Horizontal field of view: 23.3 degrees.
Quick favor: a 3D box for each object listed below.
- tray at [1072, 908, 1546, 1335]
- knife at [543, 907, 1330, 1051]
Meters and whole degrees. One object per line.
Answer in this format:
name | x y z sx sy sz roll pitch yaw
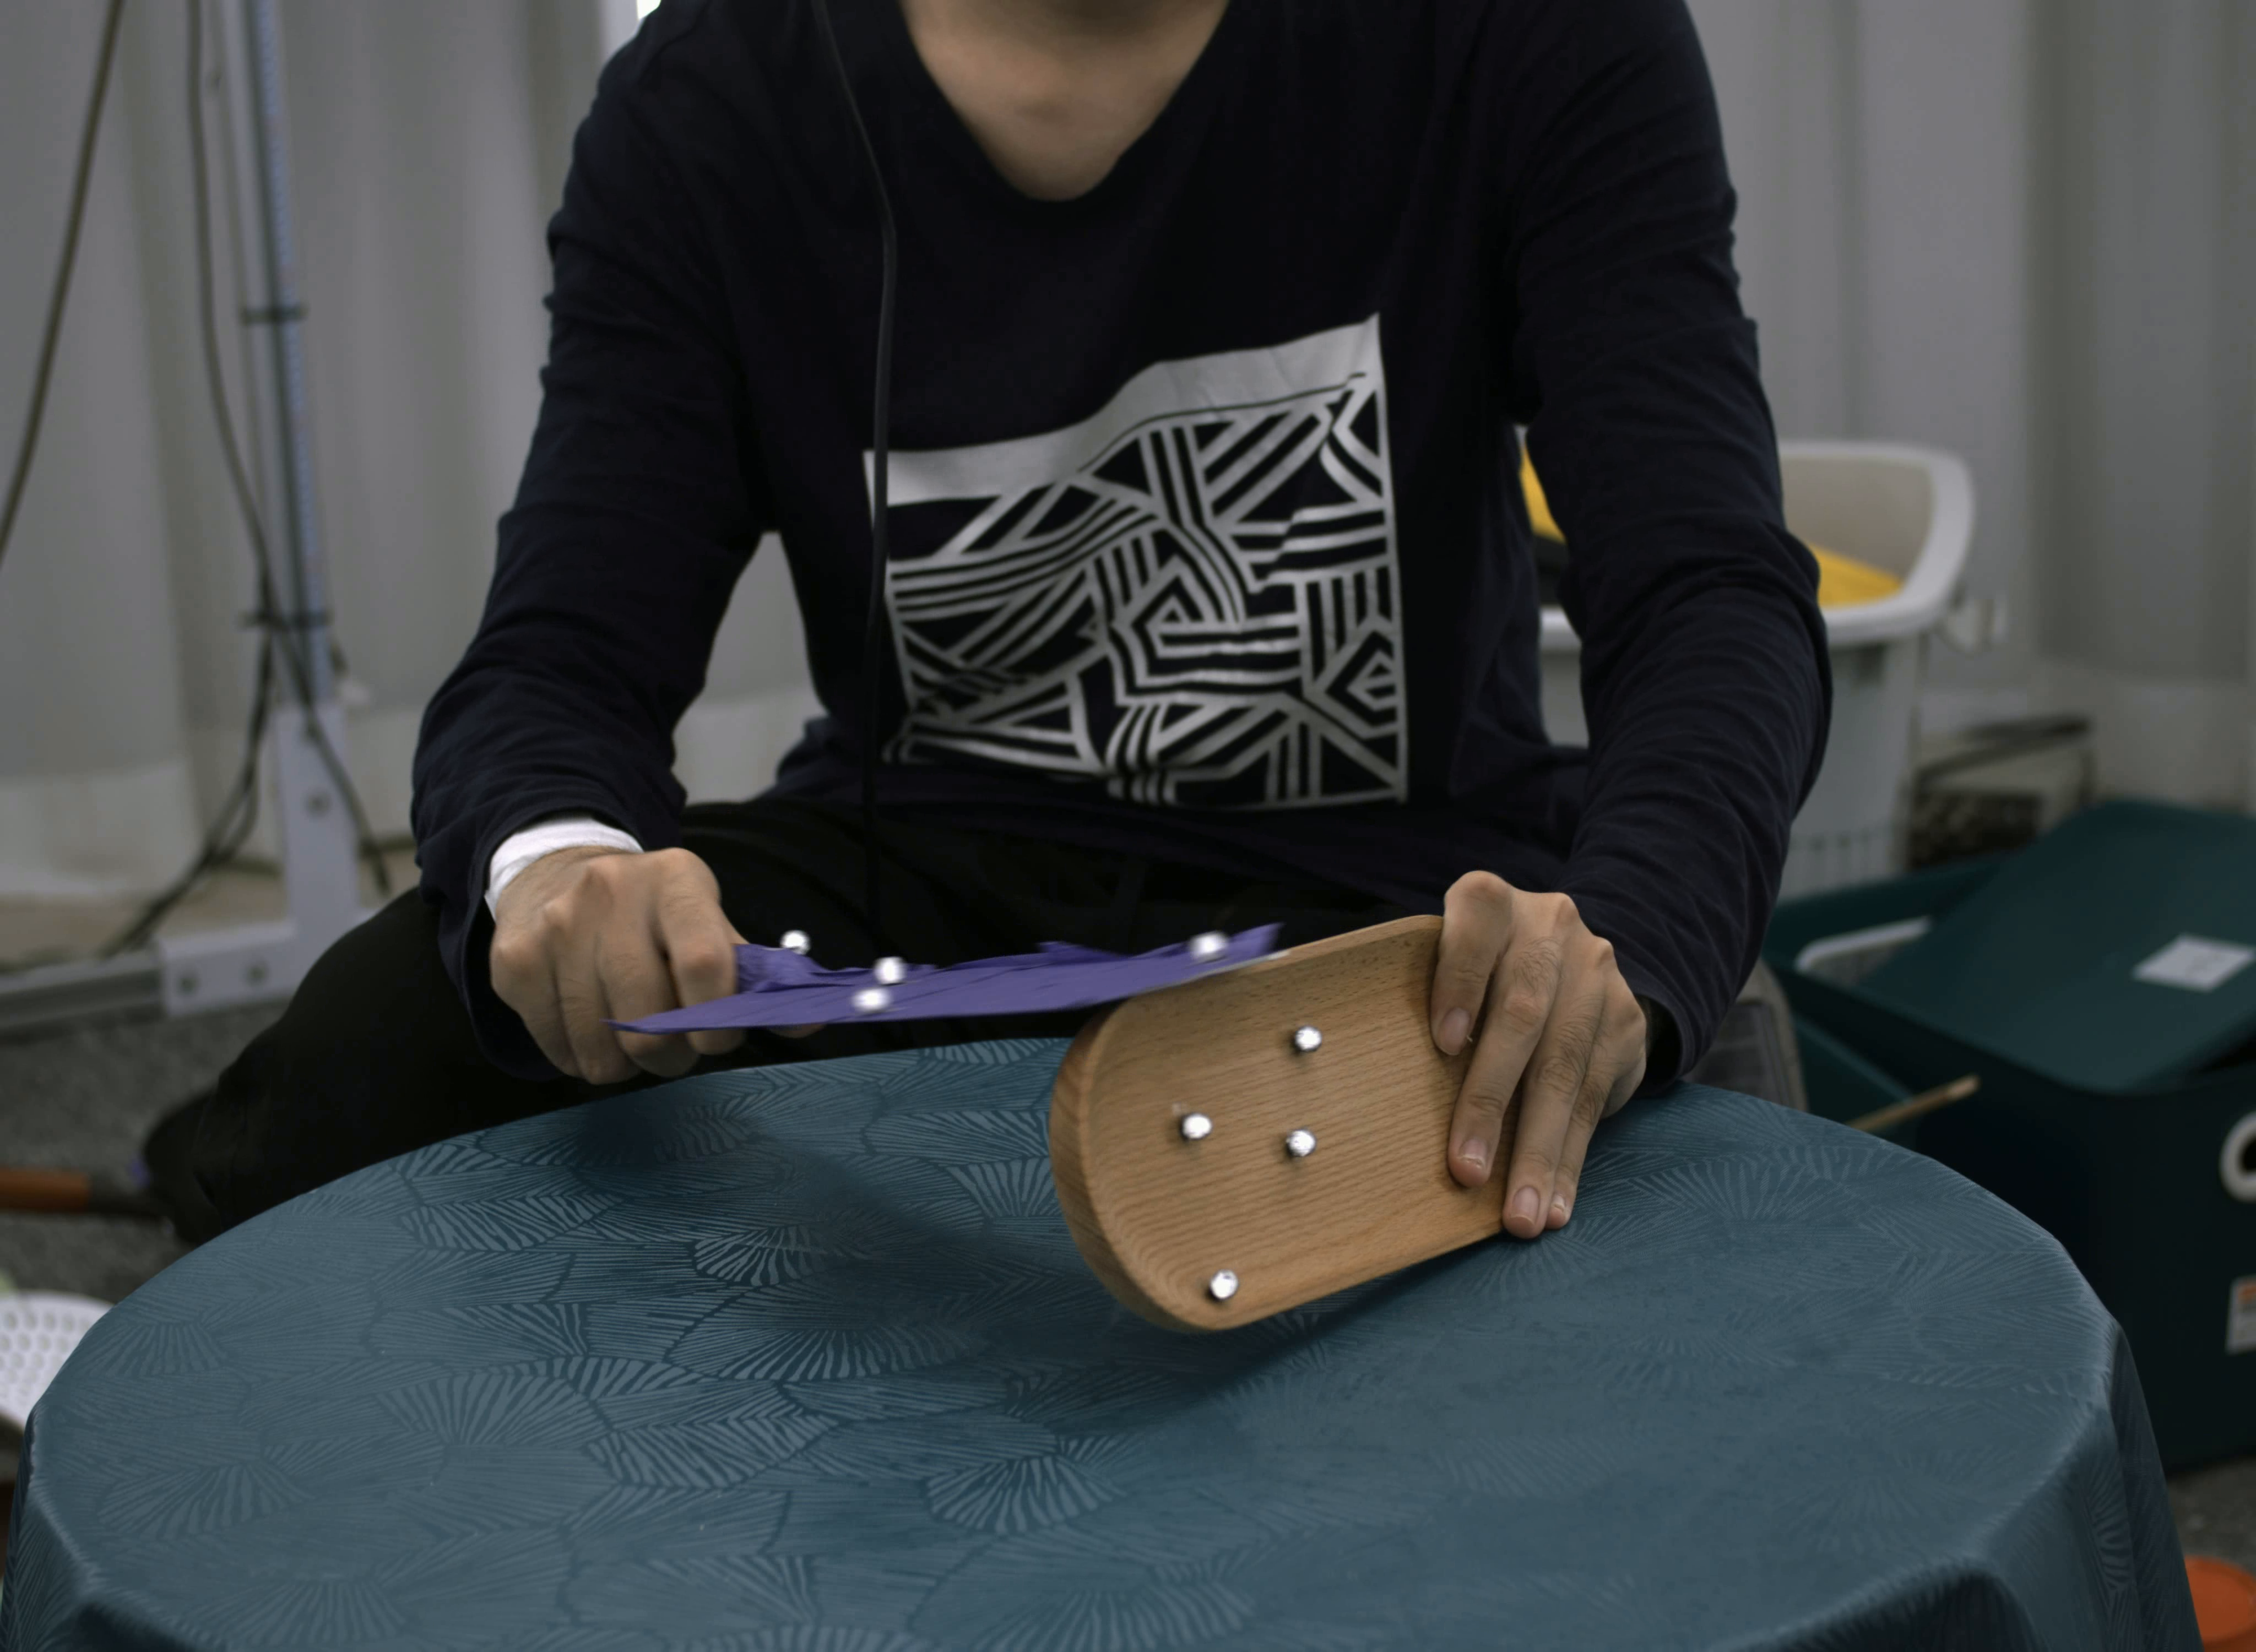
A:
tray | 0.056 0.085 1.608 0.020 0.102 0.230 -15 0 35
knife | -0.087 0.047 1.661 0.315 0.032 0.103 -9 2 43
